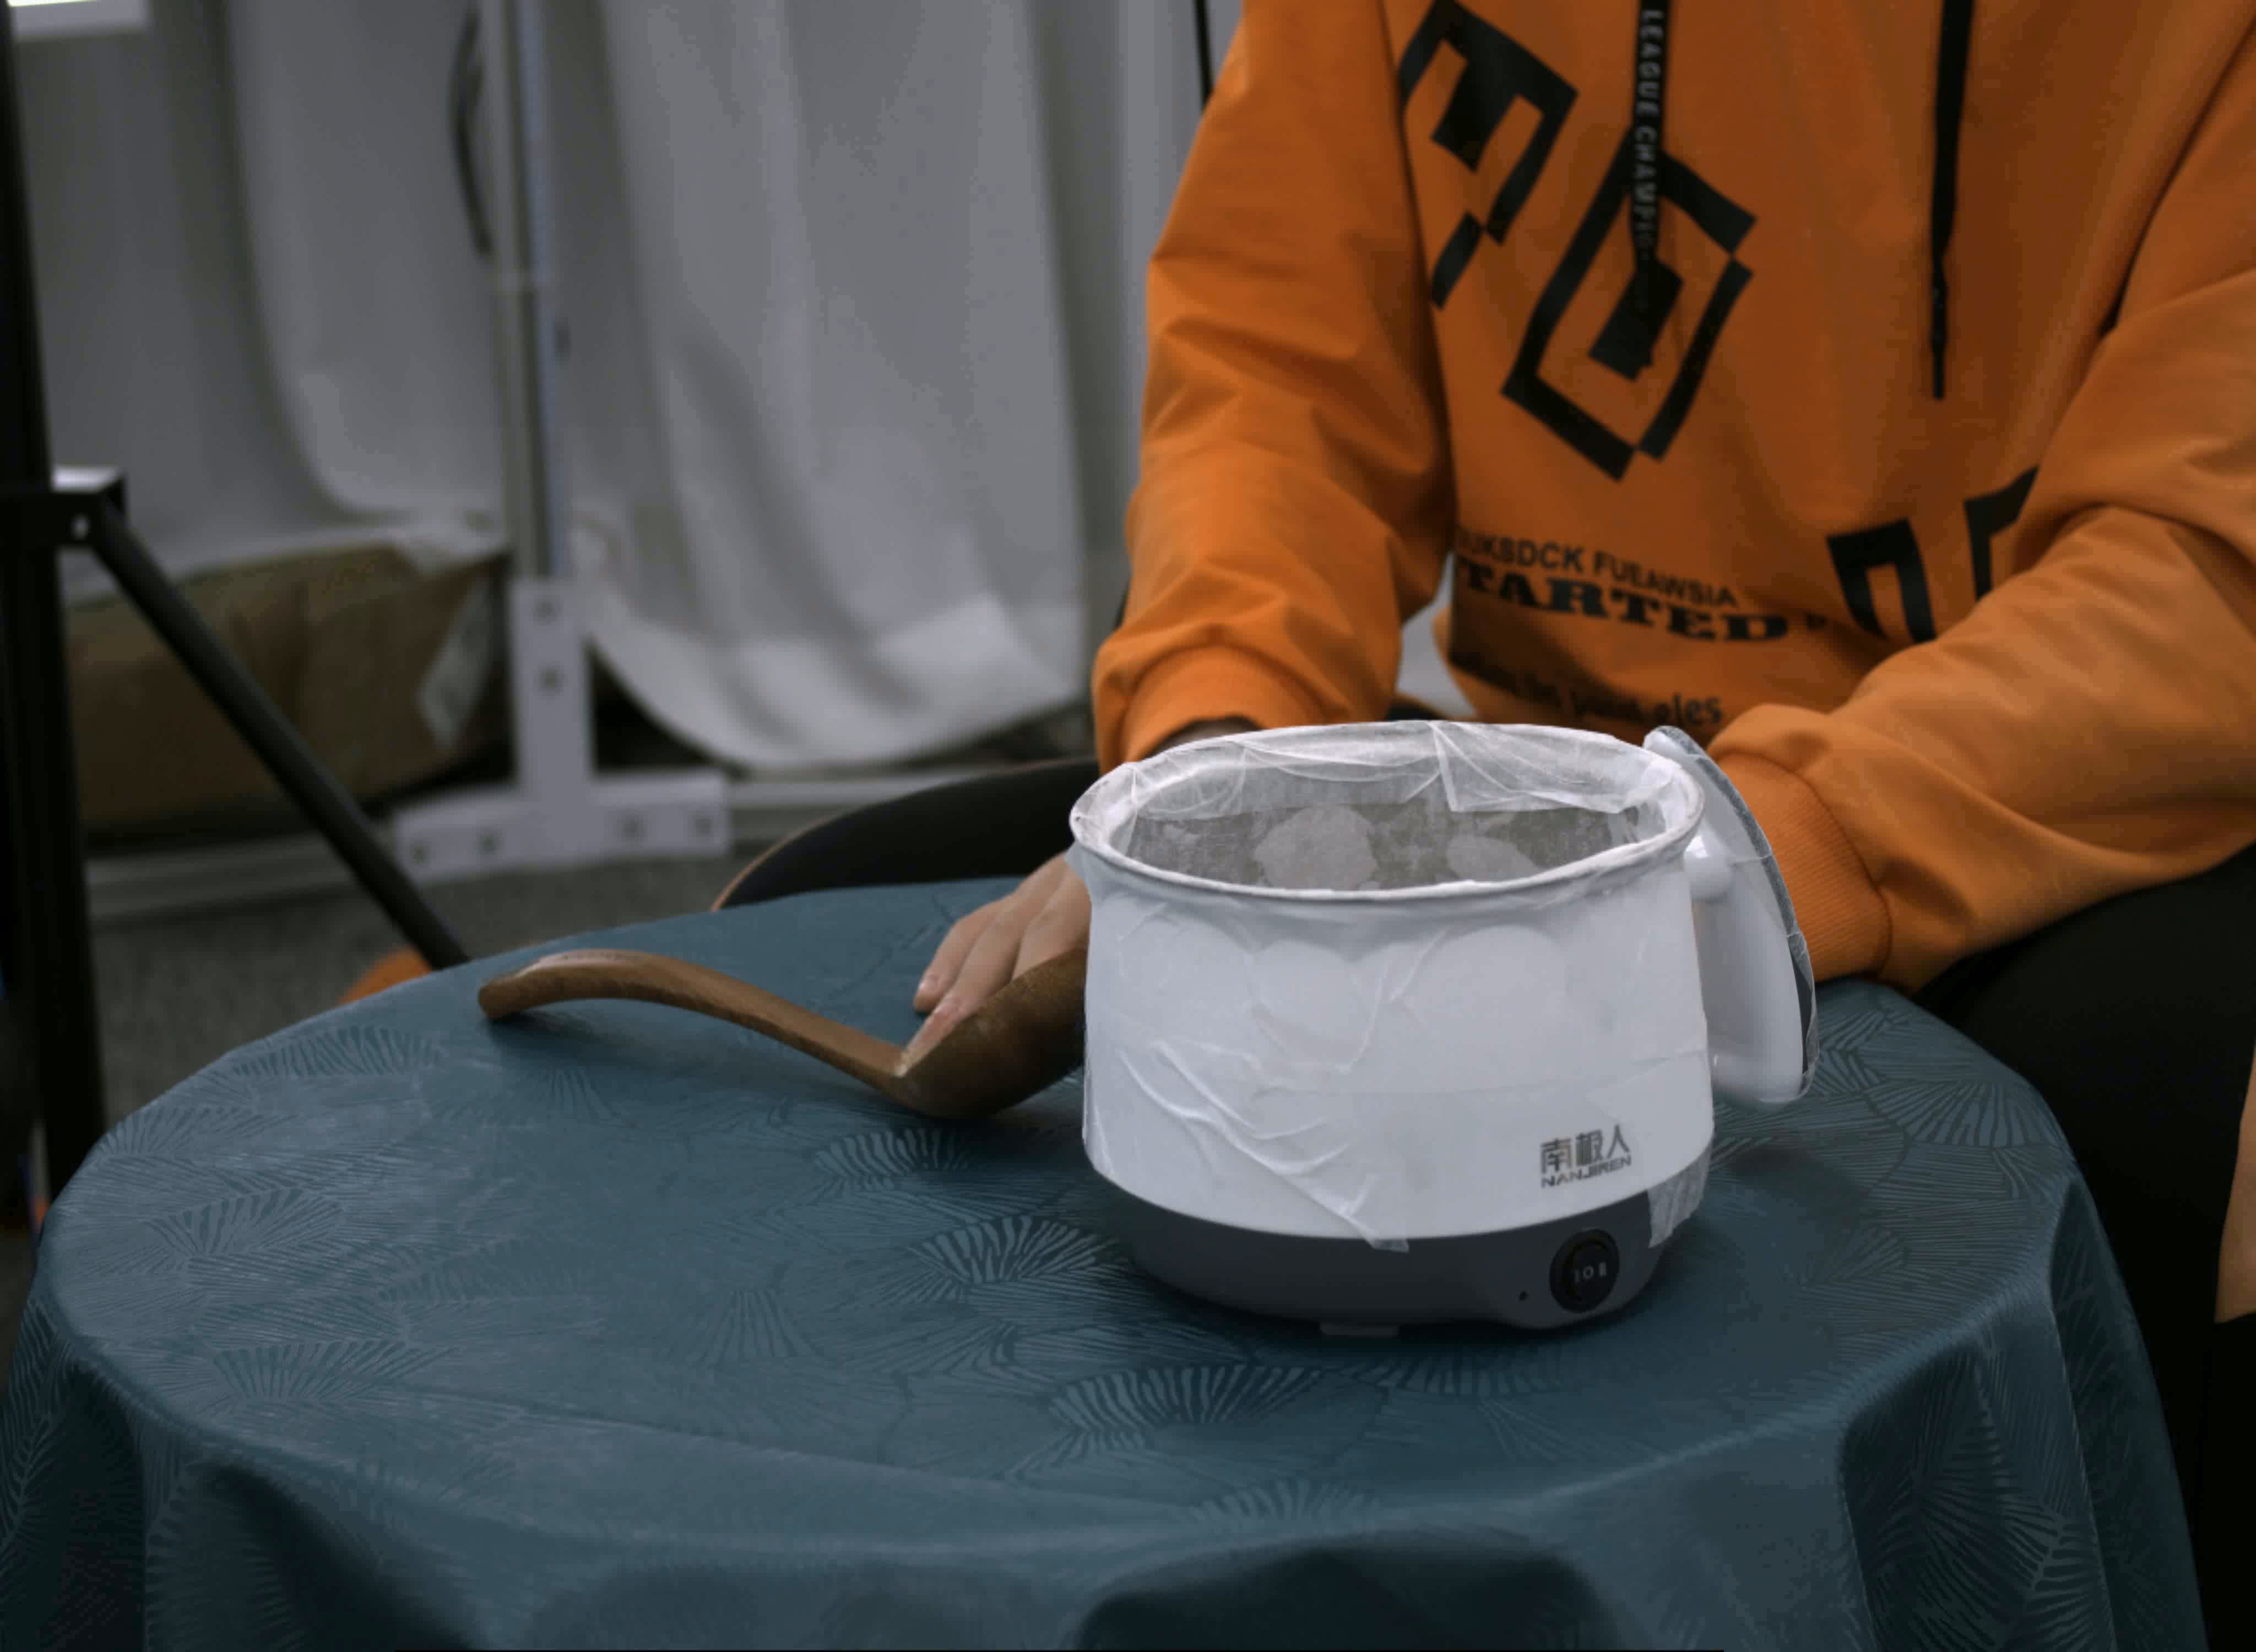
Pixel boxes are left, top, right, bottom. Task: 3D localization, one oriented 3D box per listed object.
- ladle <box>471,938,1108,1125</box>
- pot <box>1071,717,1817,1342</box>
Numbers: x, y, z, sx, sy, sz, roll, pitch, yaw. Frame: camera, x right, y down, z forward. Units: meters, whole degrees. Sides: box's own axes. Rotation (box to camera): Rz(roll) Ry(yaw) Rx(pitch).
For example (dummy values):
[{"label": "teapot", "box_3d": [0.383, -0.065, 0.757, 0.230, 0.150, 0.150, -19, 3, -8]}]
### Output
[{"label": "ladle", "box_3d": [-0.111, 0.049, 1.669, 0.266, 0.065, 0.075, 11, 17, 39]}, {"label": "pot", "box_3d": [0.097, 0.050, 1.496, 0.228, 0.136, 0.183, -13, 19, -31]}]
